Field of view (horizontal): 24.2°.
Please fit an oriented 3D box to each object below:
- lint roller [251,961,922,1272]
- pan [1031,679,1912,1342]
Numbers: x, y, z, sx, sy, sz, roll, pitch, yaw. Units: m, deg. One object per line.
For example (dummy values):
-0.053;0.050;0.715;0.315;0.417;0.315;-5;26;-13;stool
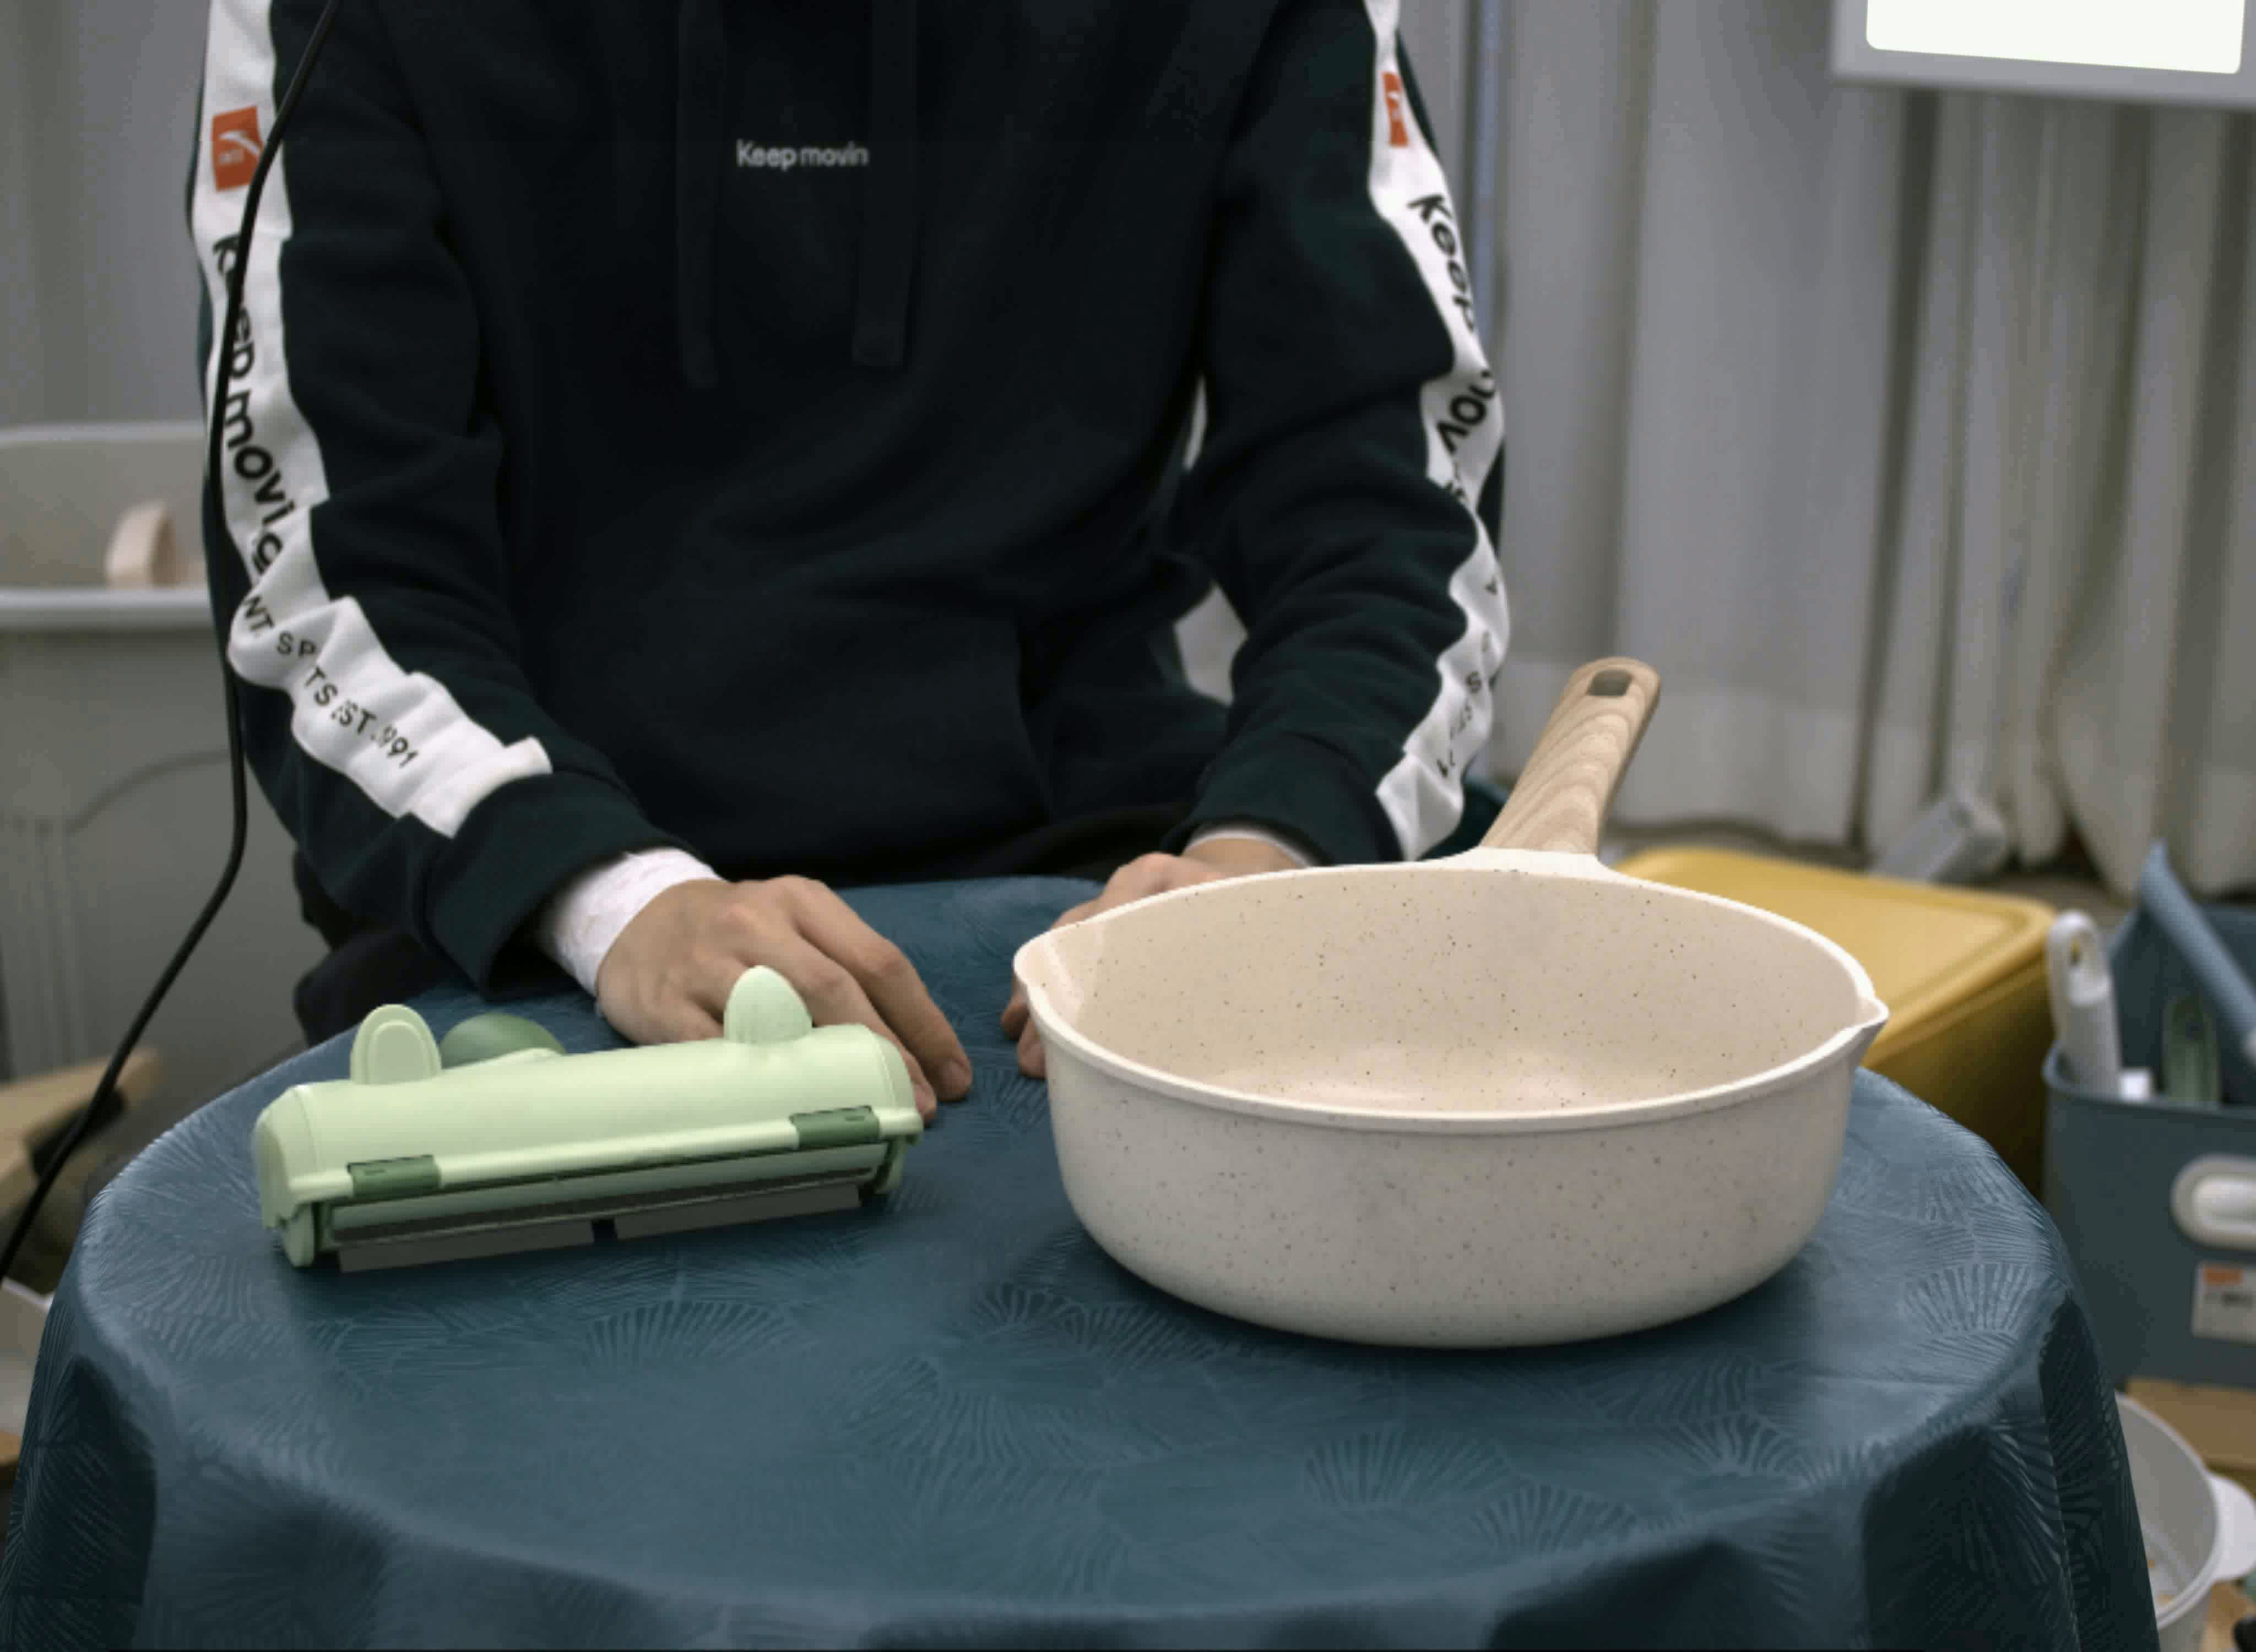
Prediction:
-0.182;0.070;1.624;0.199;0.083;0.181;-6;23;-20;lint roller
0.122;0.053;1.652;0.261;0.103;0.434;3;16;13;pan
